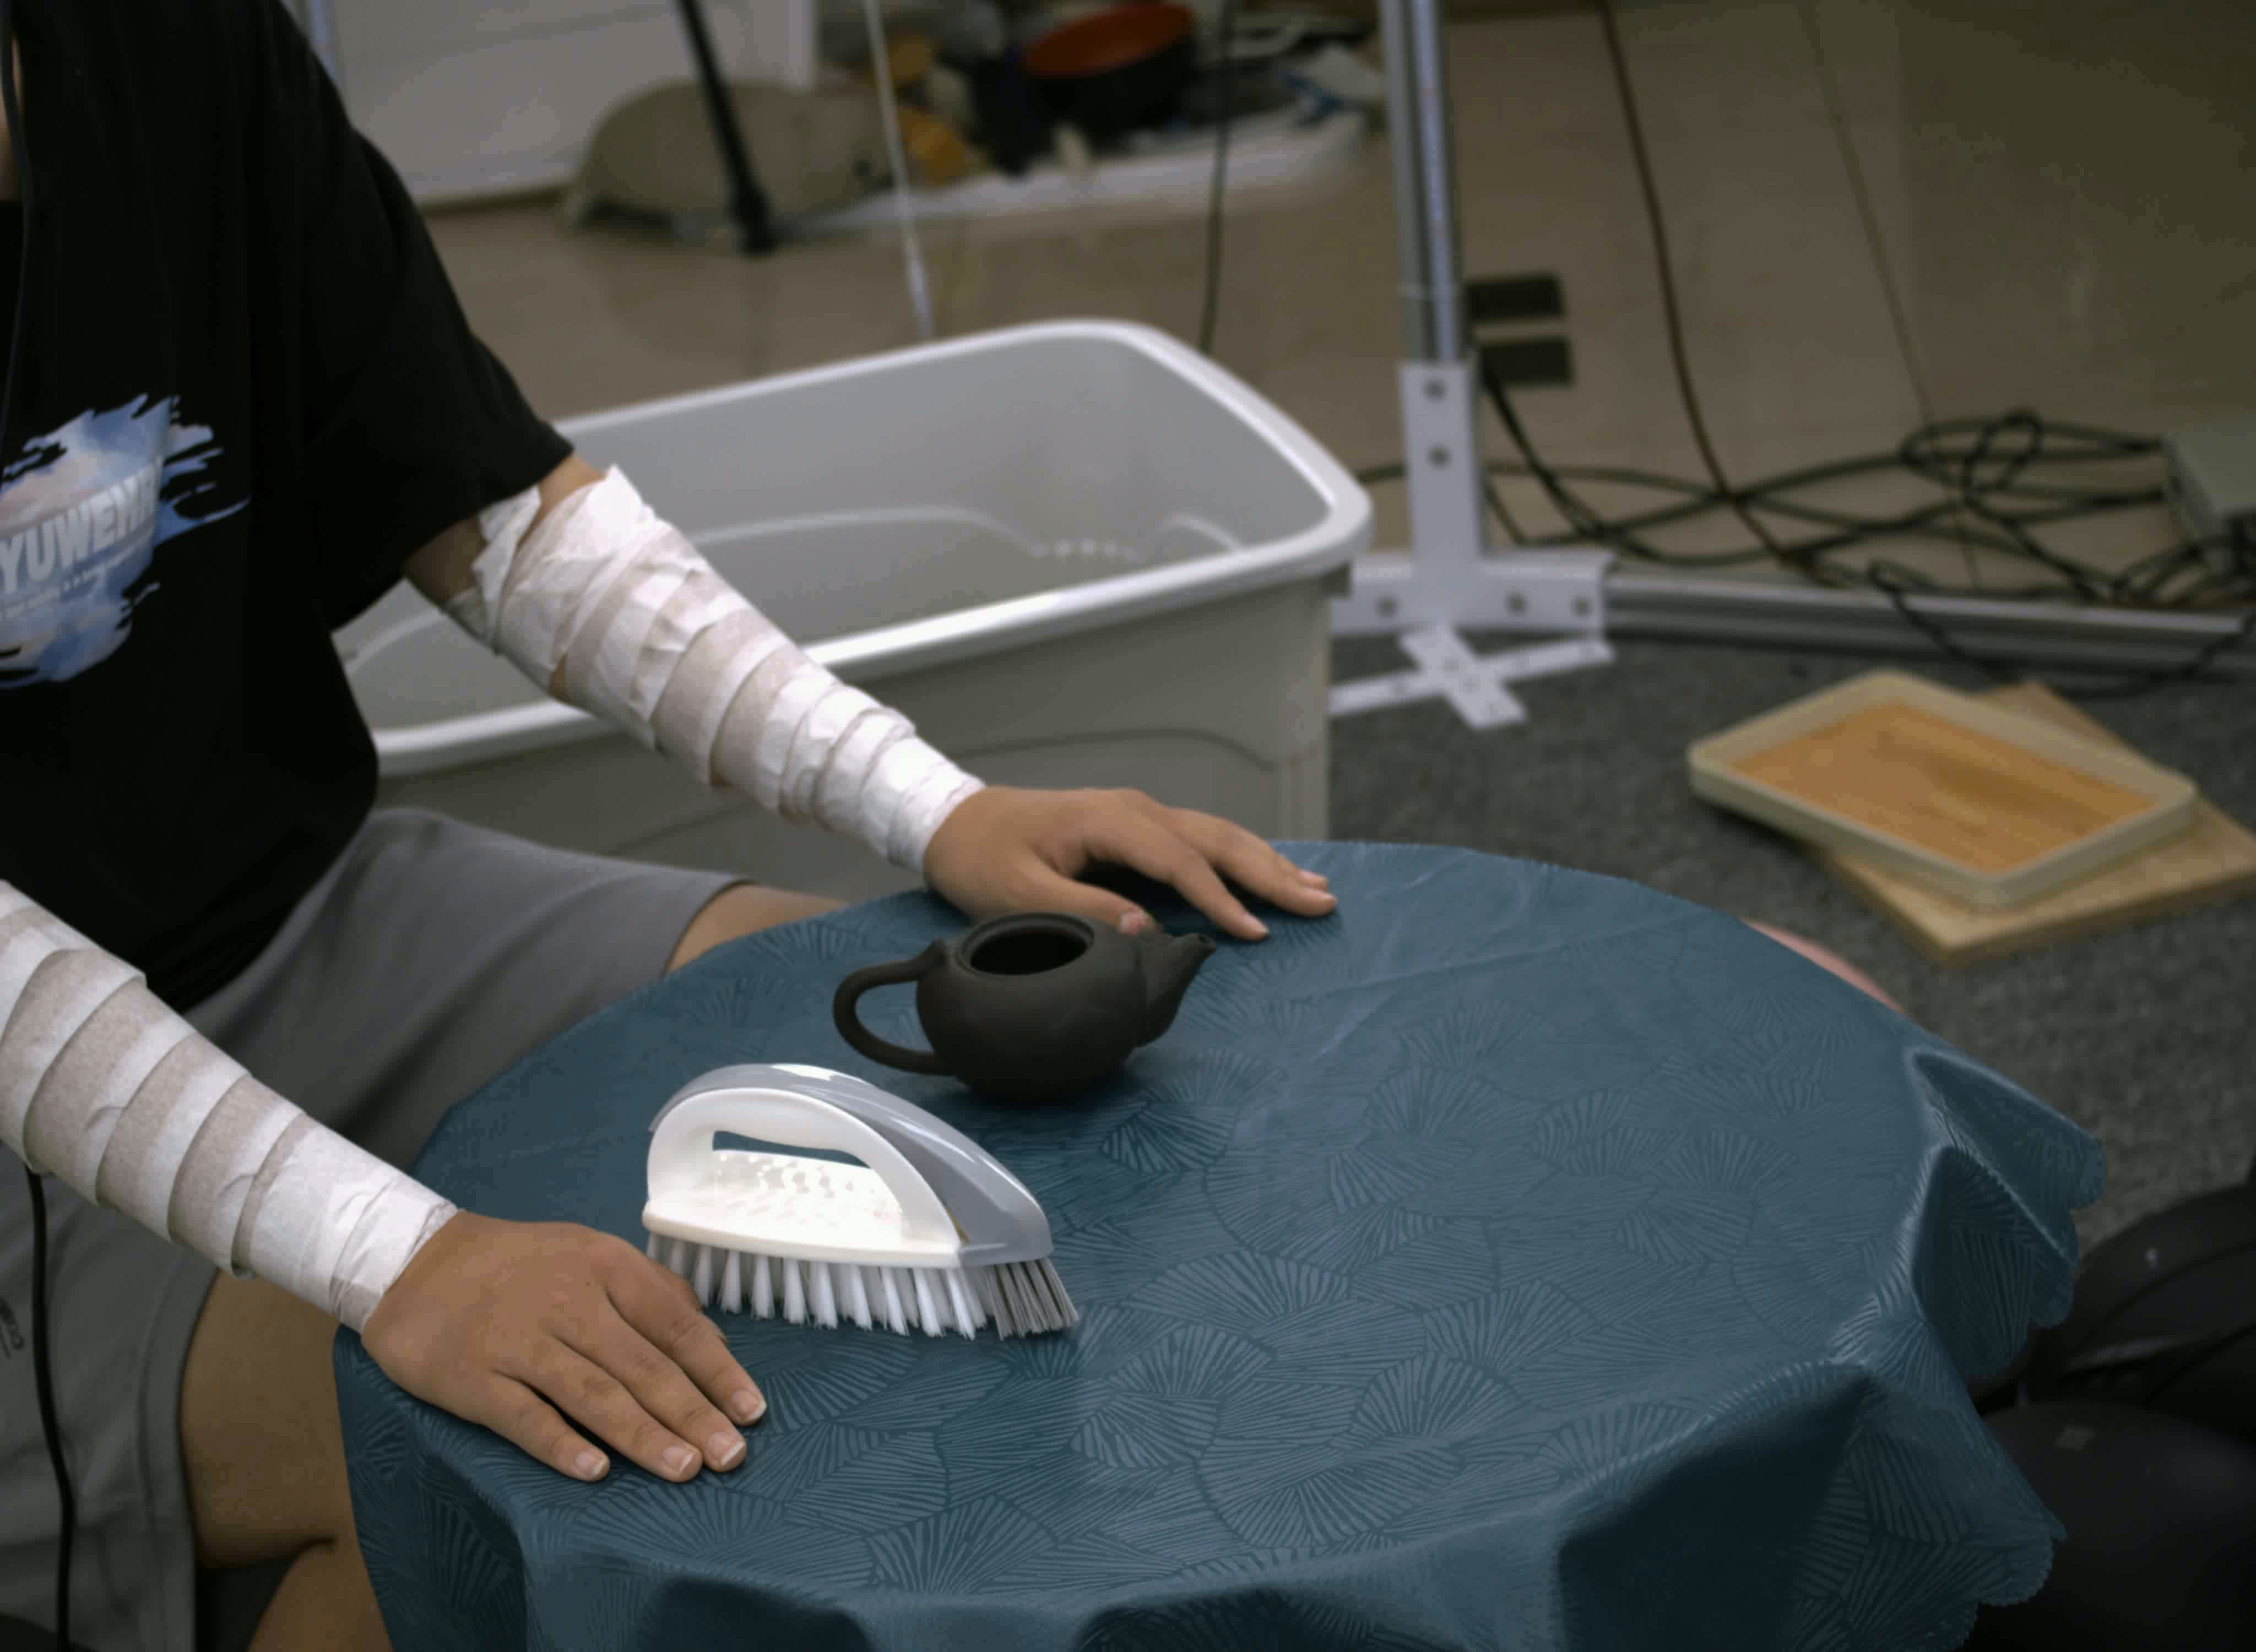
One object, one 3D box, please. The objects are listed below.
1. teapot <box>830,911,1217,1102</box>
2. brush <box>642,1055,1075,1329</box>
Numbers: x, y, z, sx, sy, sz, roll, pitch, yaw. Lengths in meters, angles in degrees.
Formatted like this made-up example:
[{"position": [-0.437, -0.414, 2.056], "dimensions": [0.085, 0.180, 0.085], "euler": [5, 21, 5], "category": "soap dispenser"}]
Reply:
[{"position": [-0.040, 0.070, 2.230], "dimensions": [0.154, 0.065, 0.091], "euler": [-4, 25, 2], "category": "teapot"}, {"position": [-0.101, 0.131, 2.080], "dimensions": [0.175, 0.096, 0.060], "euler": [10, 34, 28], "category": "brush"}]
